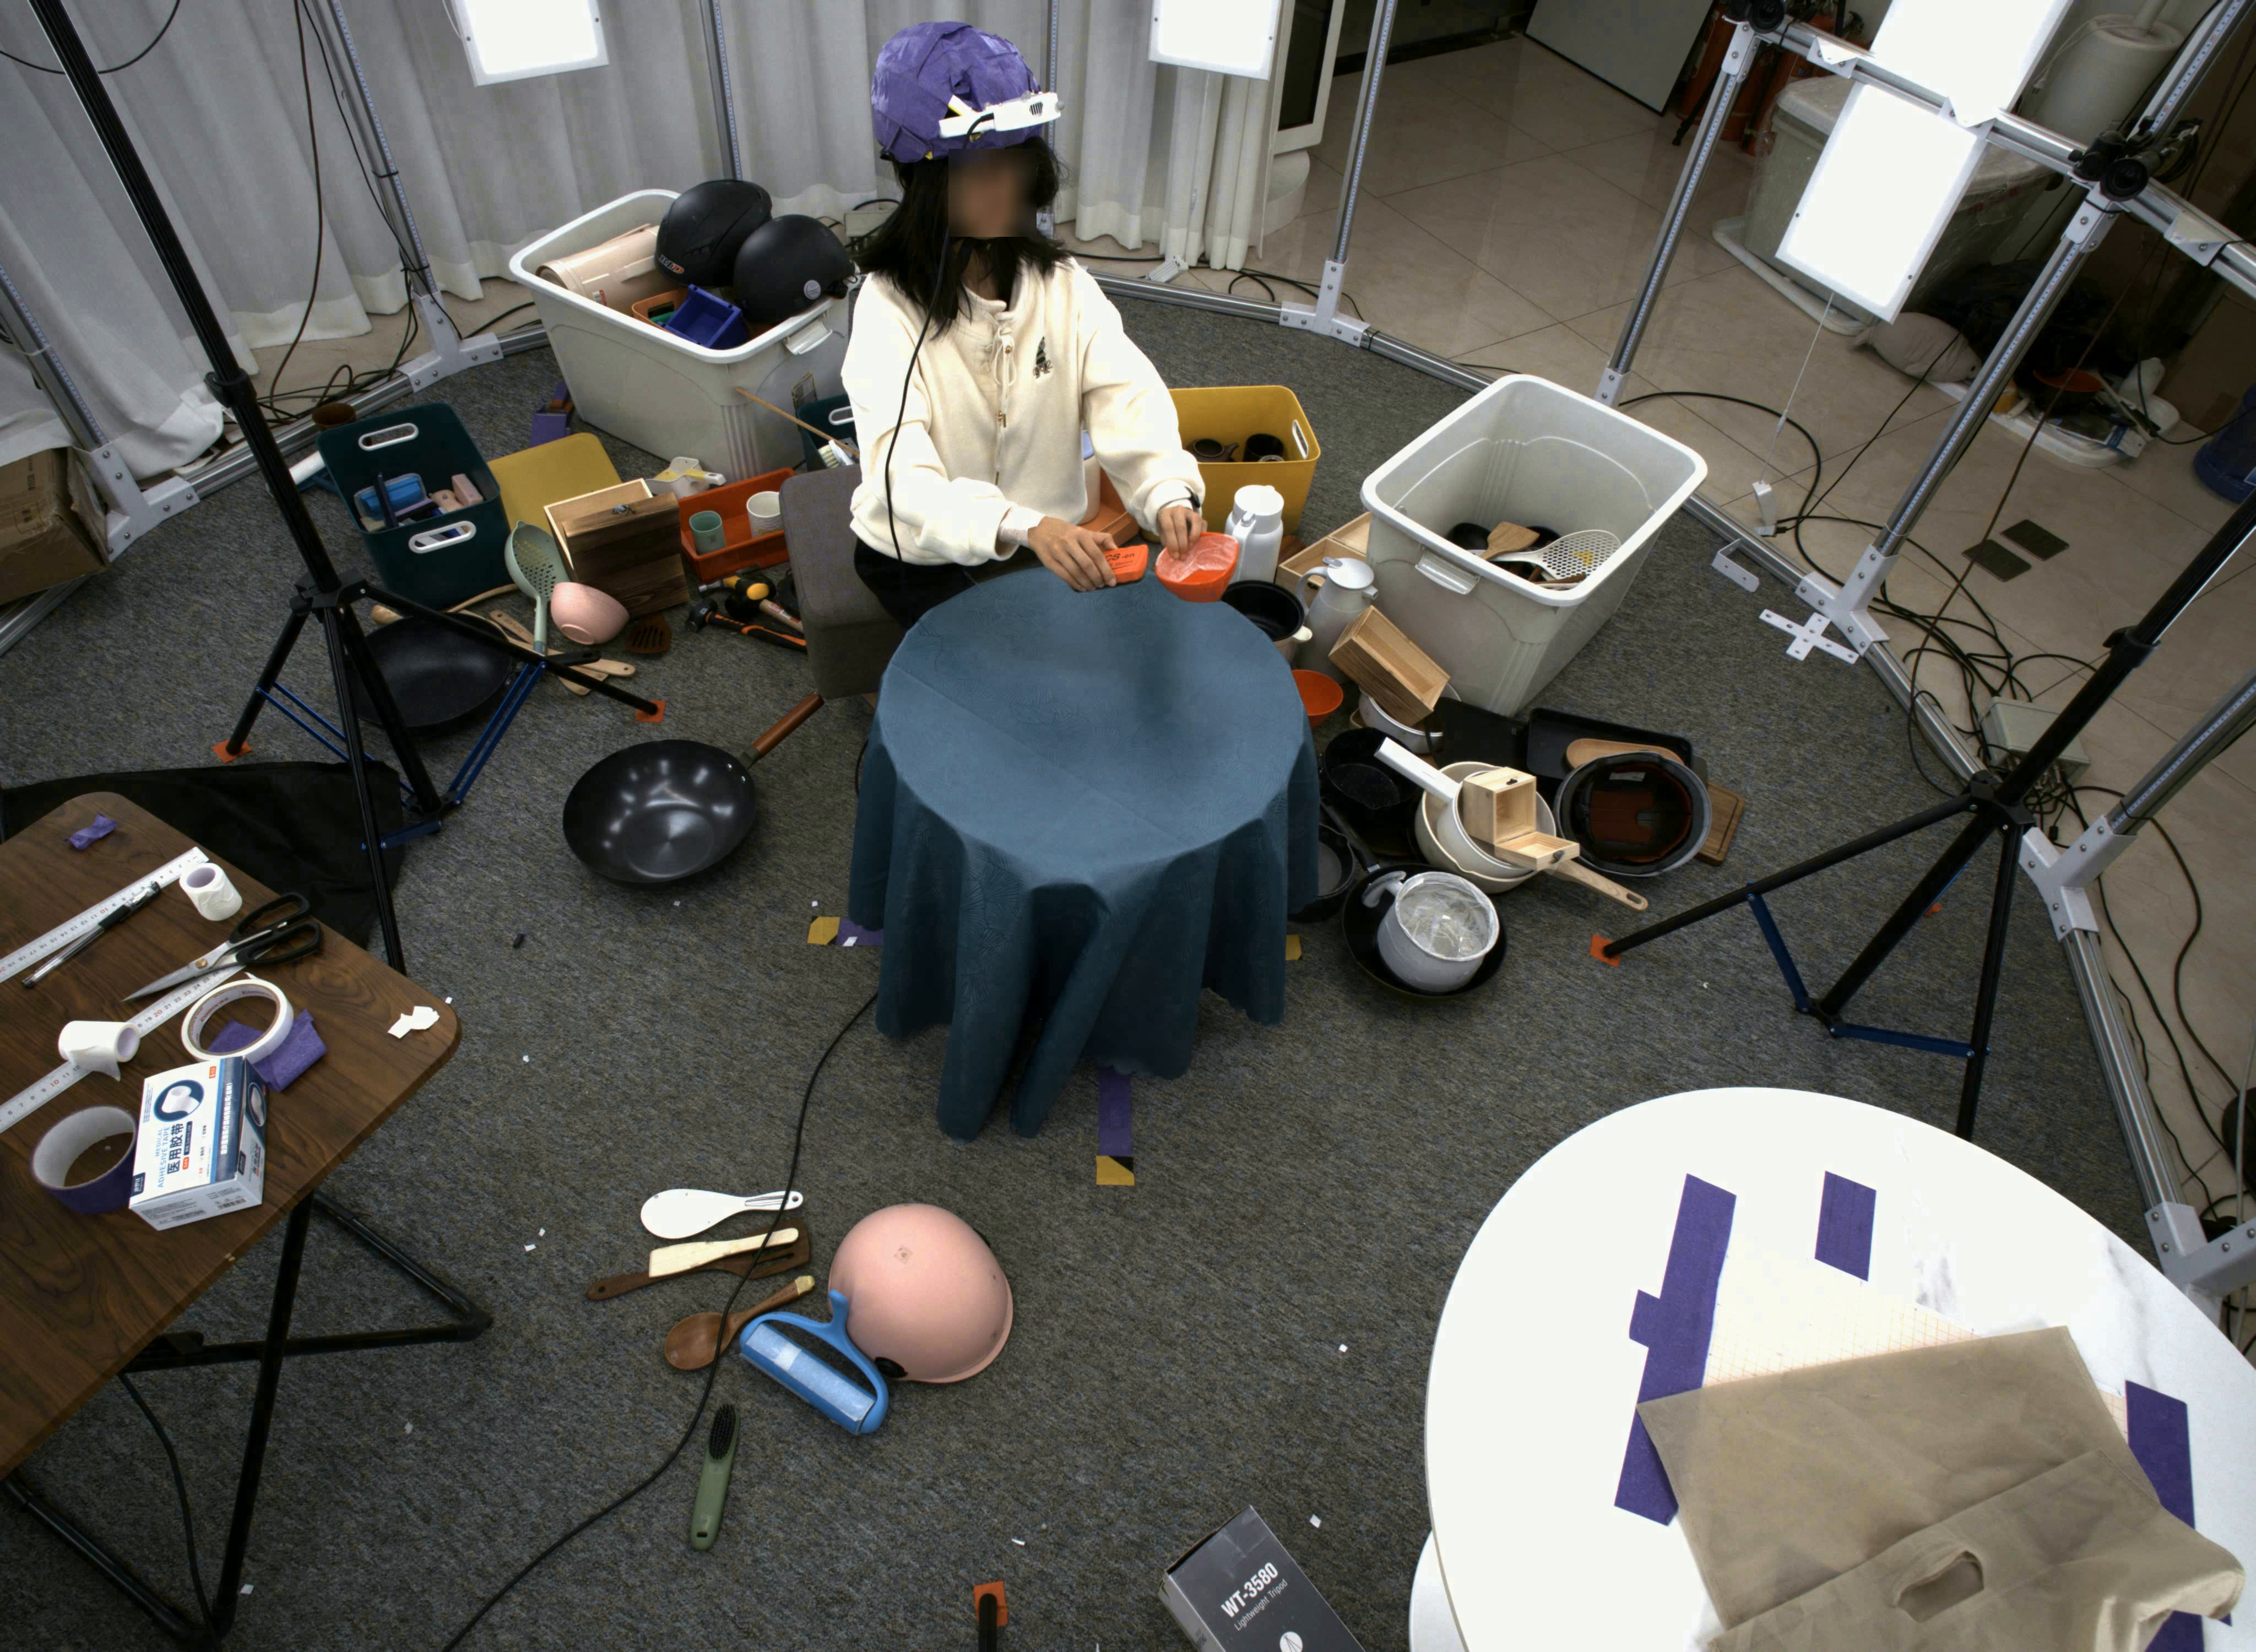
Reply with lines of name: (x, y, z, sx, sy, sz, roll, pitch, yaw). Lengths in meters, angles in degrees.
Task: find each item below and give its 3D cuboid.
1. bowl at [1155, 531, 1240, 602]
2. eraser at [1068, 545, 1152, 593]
bowl: (0.098, -0.342, 1.727, 0.119, 0.050, 0.122, -10, 45, 10)
eraser: (-0.024, -0.344, 1.724, 0.108, 0.022, 0.060, -2, 50, 30)
